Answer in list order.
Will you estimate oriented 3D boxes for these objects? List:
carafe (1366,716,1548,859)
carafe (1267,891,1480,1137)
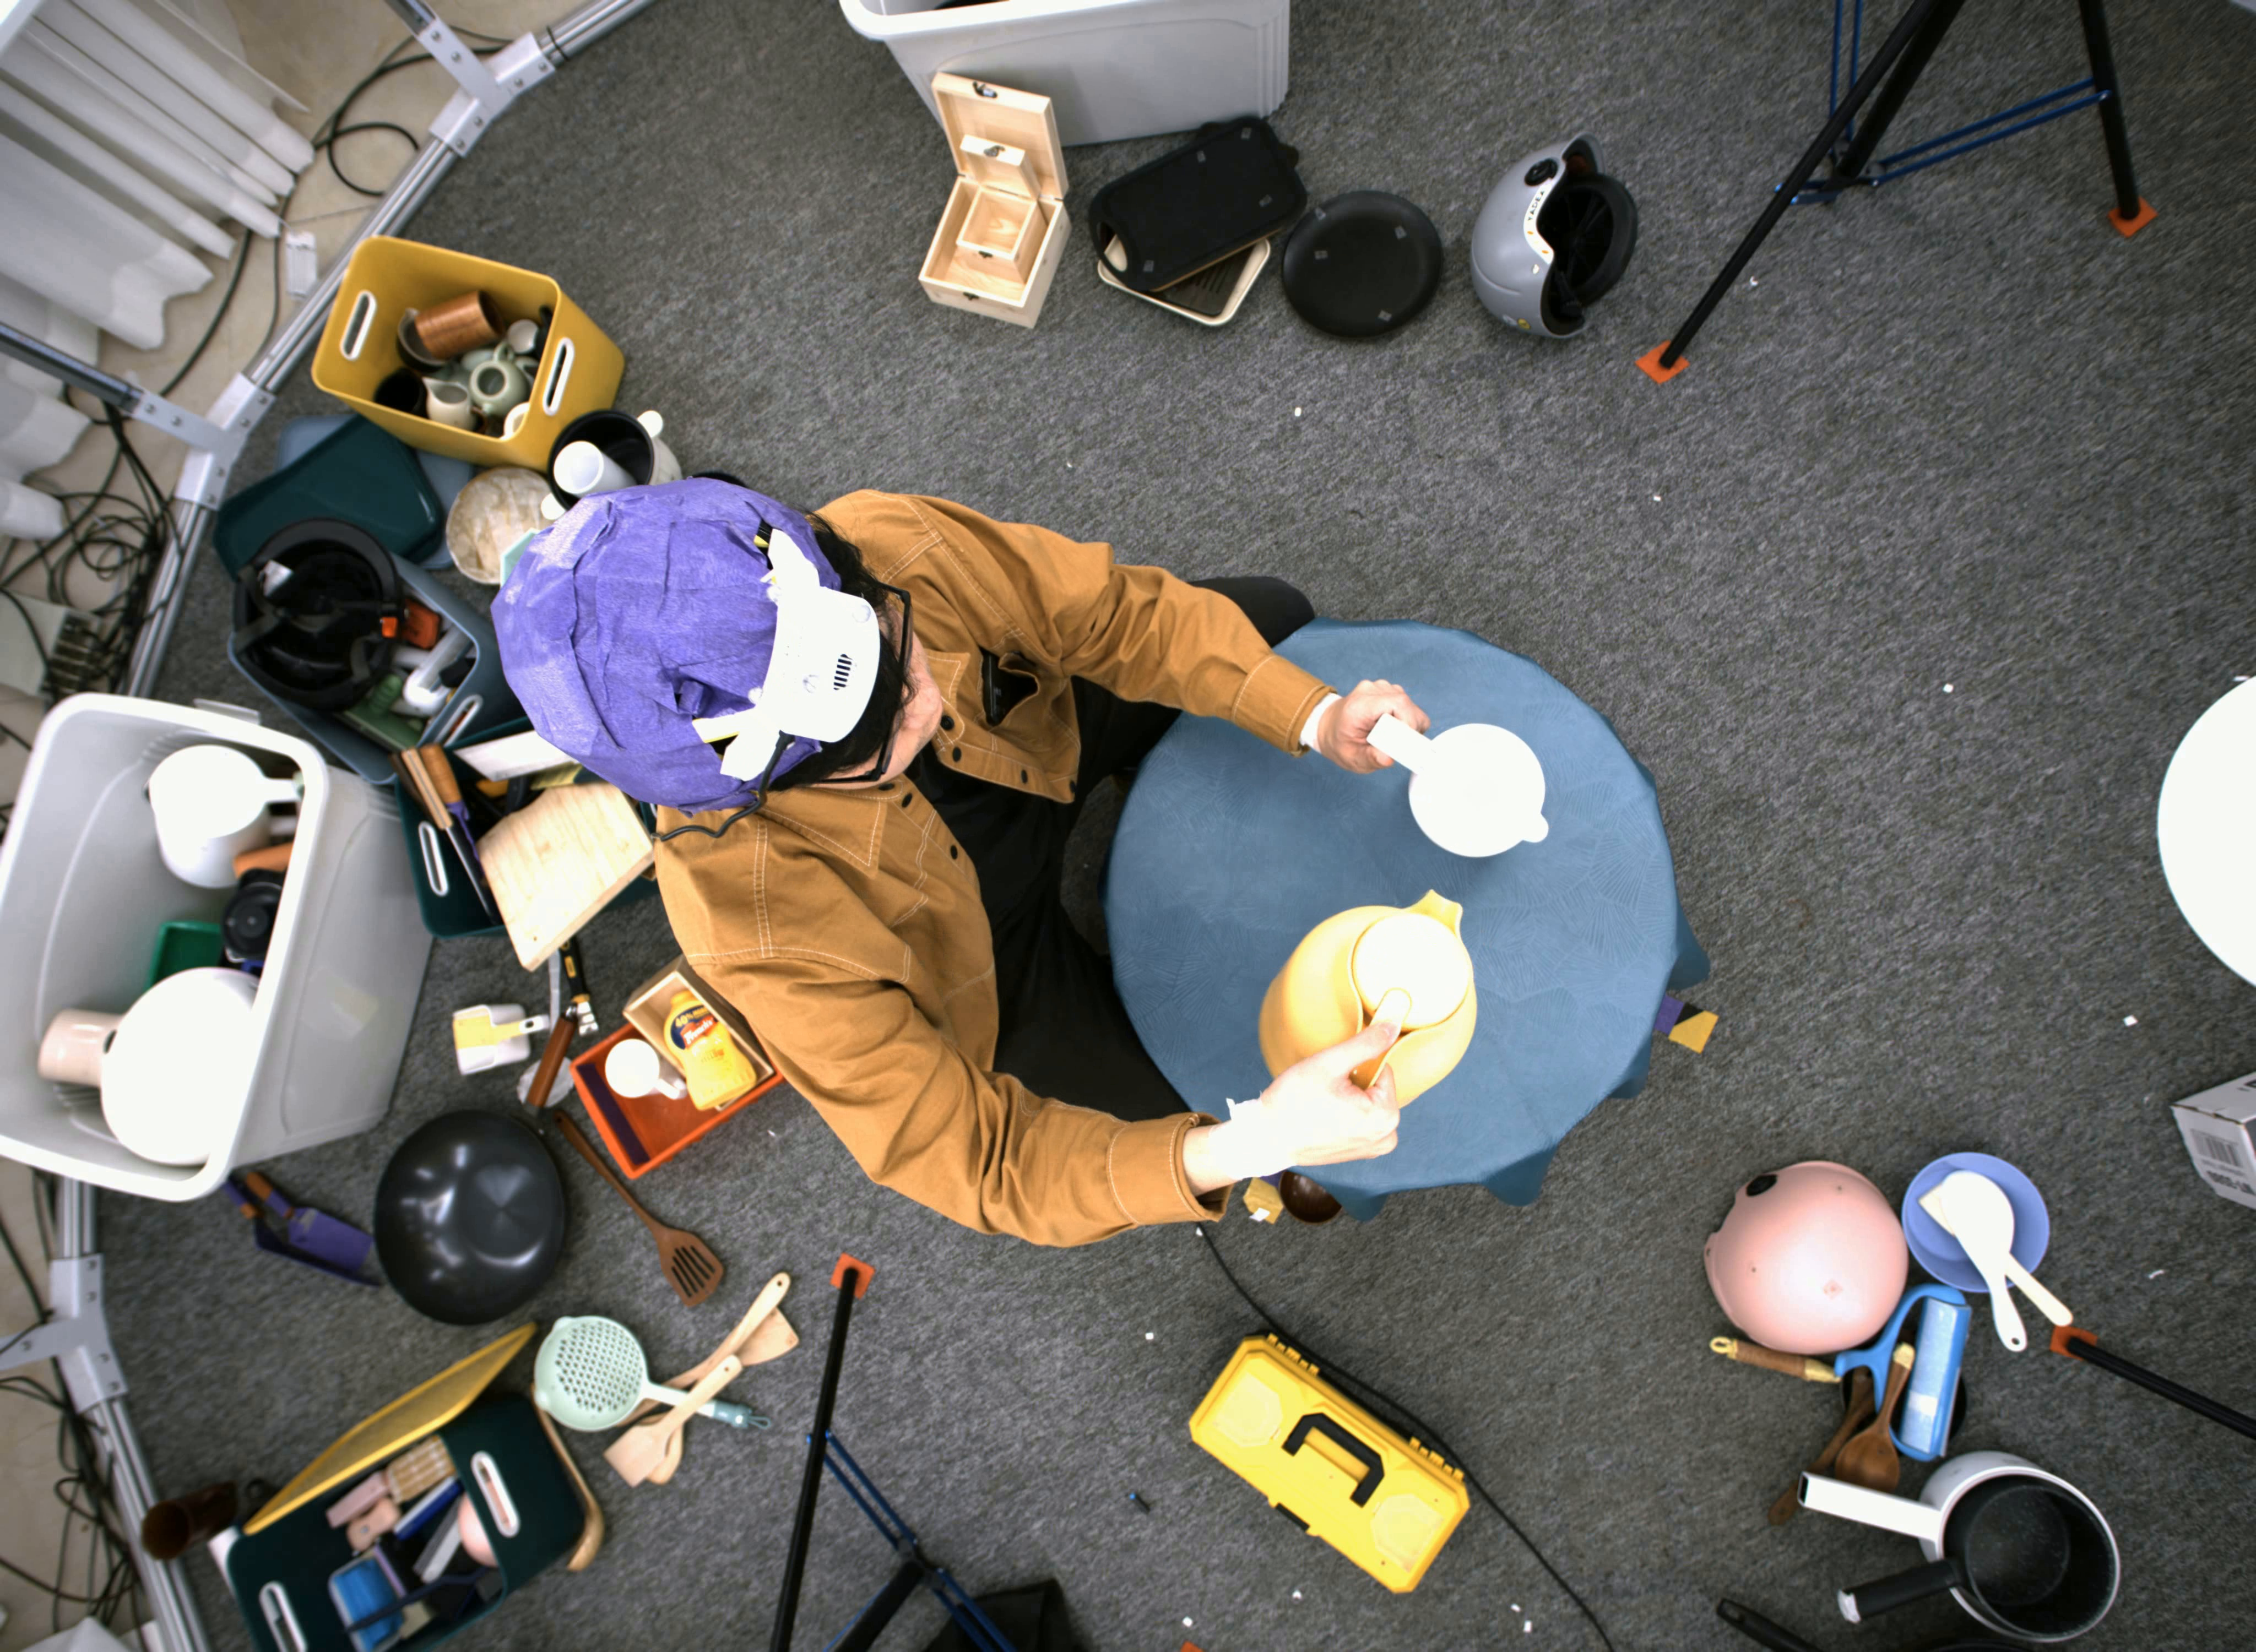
[{"bbox_3d":[0.304,-0.042,1.266,0.172,0.266,0.125,33,102,11],"label":"carafe"},{"bbox_3d":[0.198,0.166,1.152,0.163,0.265,0.199,30,71,11],"label":"carafe"}]
